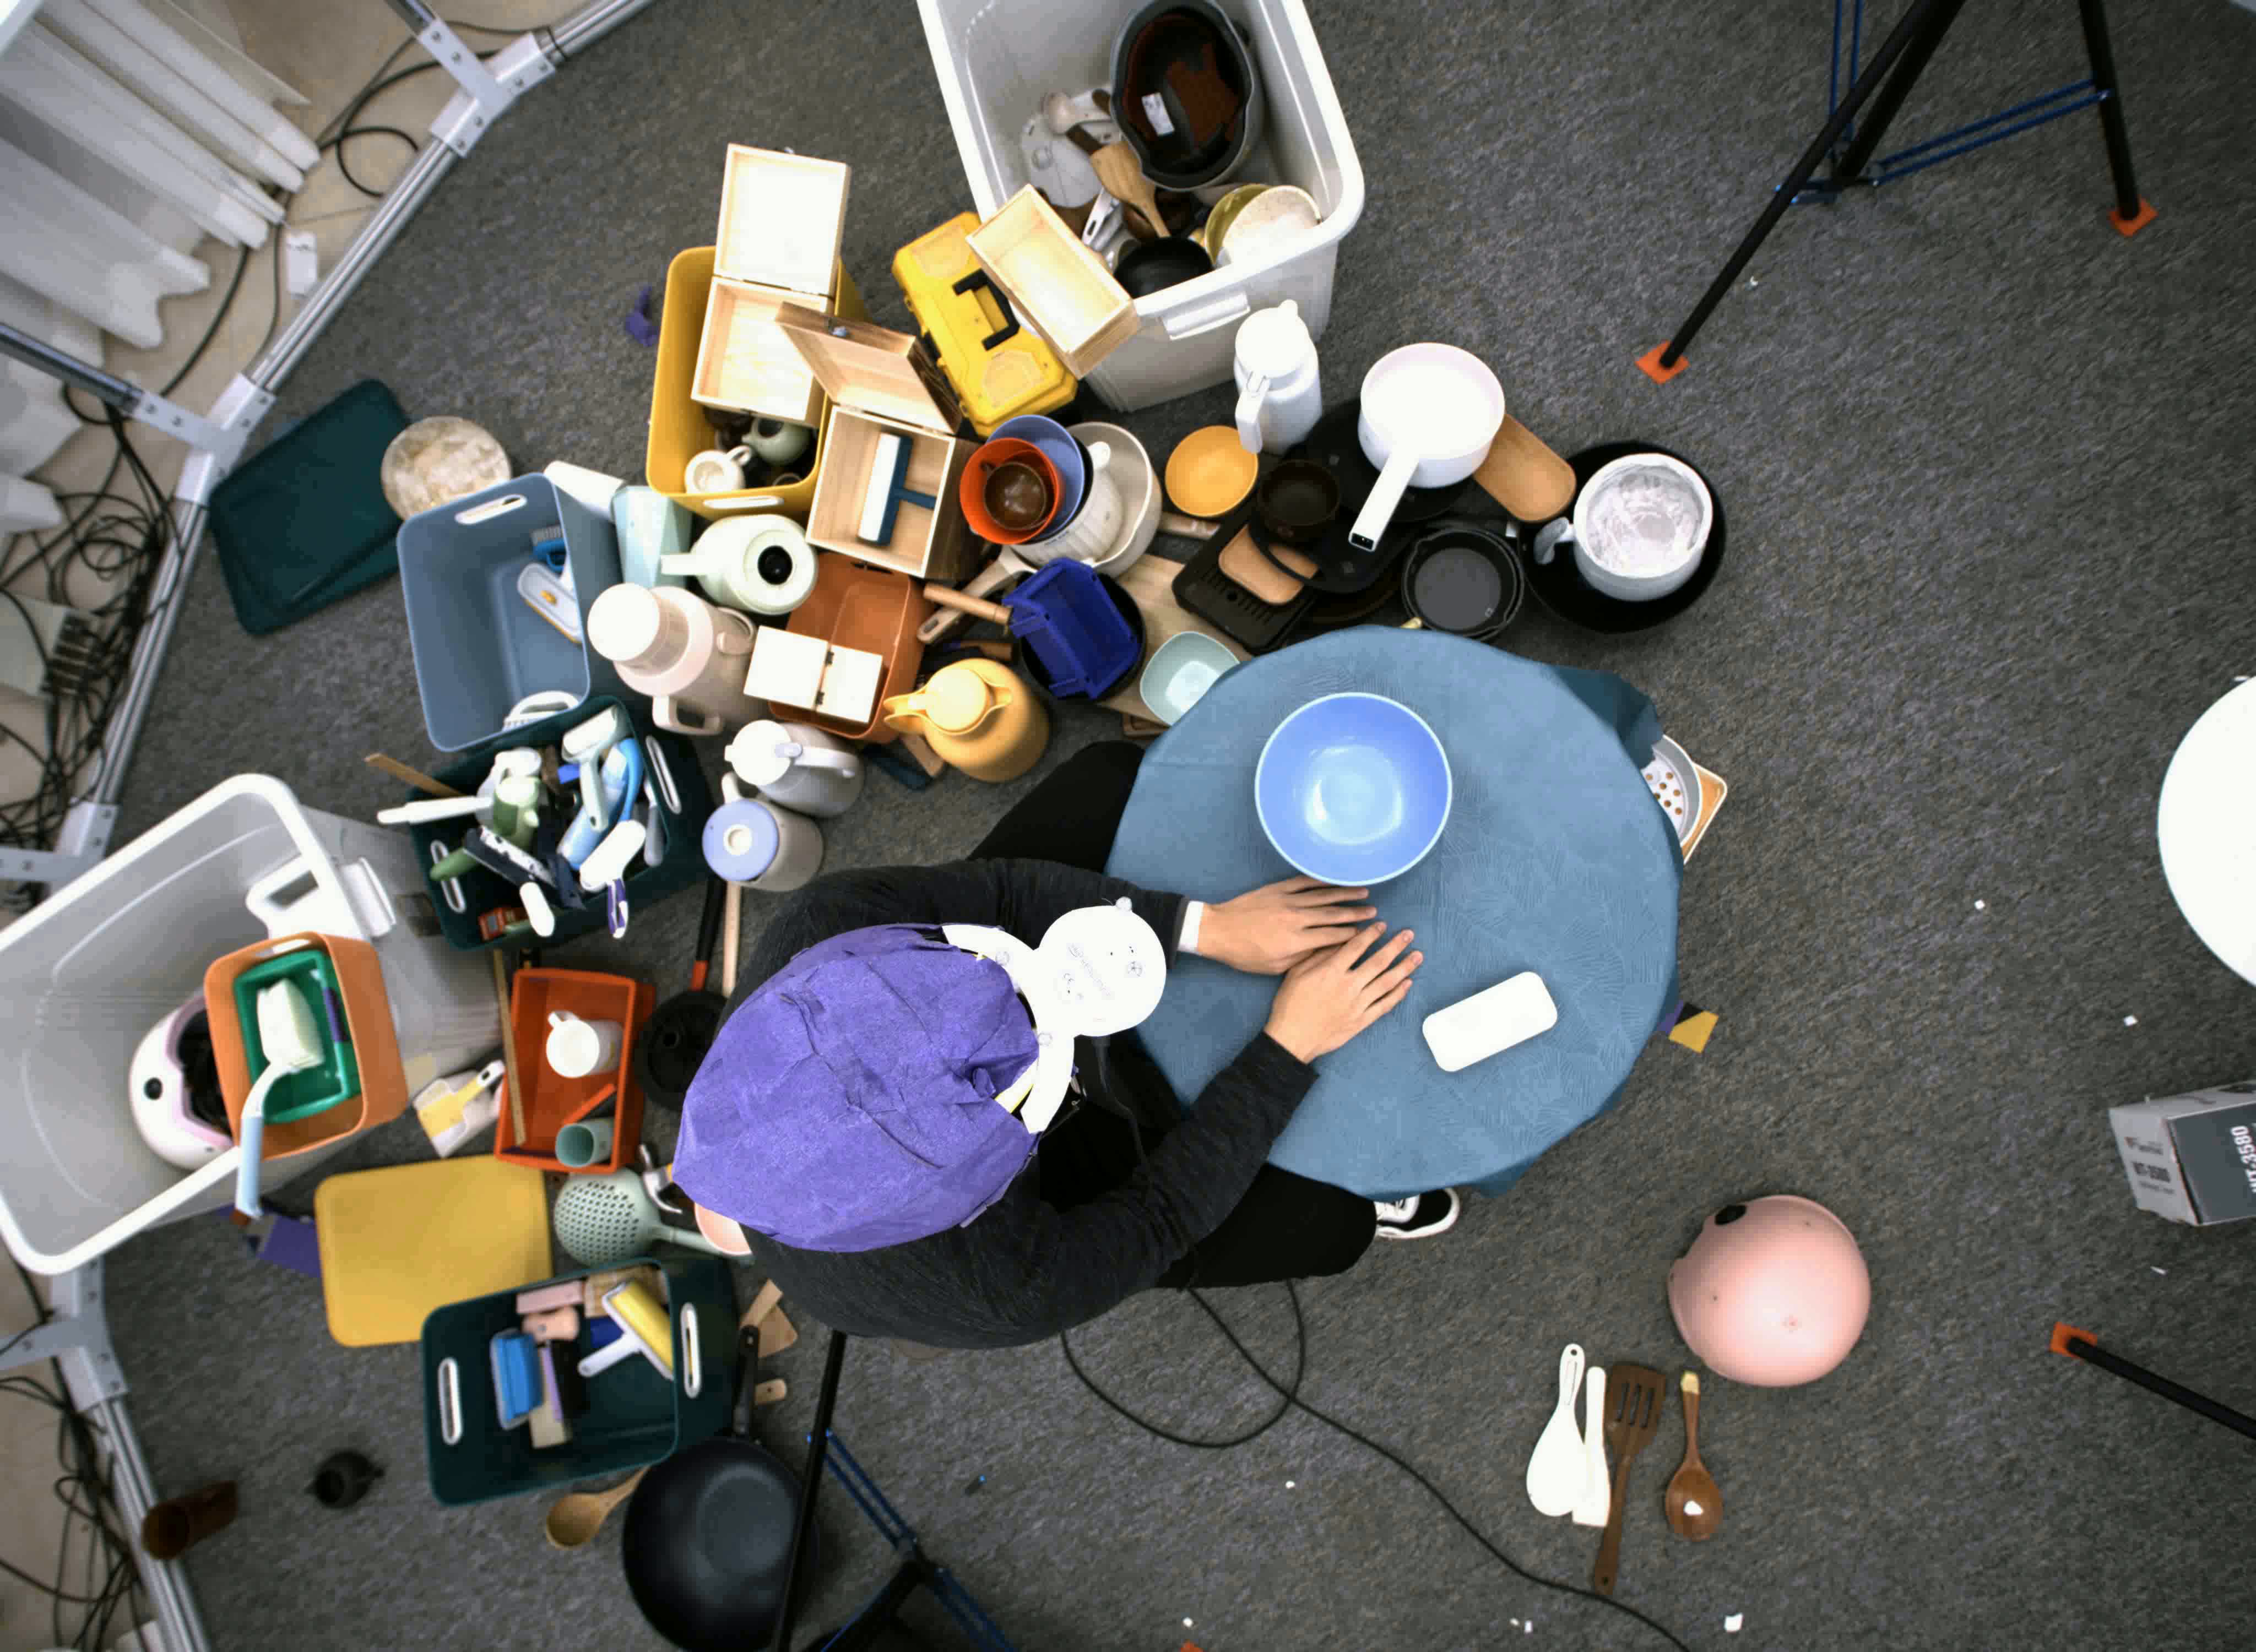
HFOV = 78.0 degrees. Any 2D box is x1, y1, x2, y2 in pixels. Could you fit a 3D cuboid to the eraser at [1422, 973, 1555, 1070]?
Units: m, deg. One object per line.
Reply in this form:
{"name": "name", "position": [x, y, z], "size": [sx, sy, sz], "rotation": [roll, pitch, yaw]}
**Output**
{"name": "eraser", "position": [0.369, 0.198, 1.419], "size": [0.132, 0.034, 0.063], "rotation": [-25, 81, 7]}

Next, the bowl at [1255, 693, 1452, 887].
{"name": "bowl", "position": [0.233, -0.034, 1.427], "size": [0.197, 0.095, 0.196], "rotation": [-1, 87, 10]}
